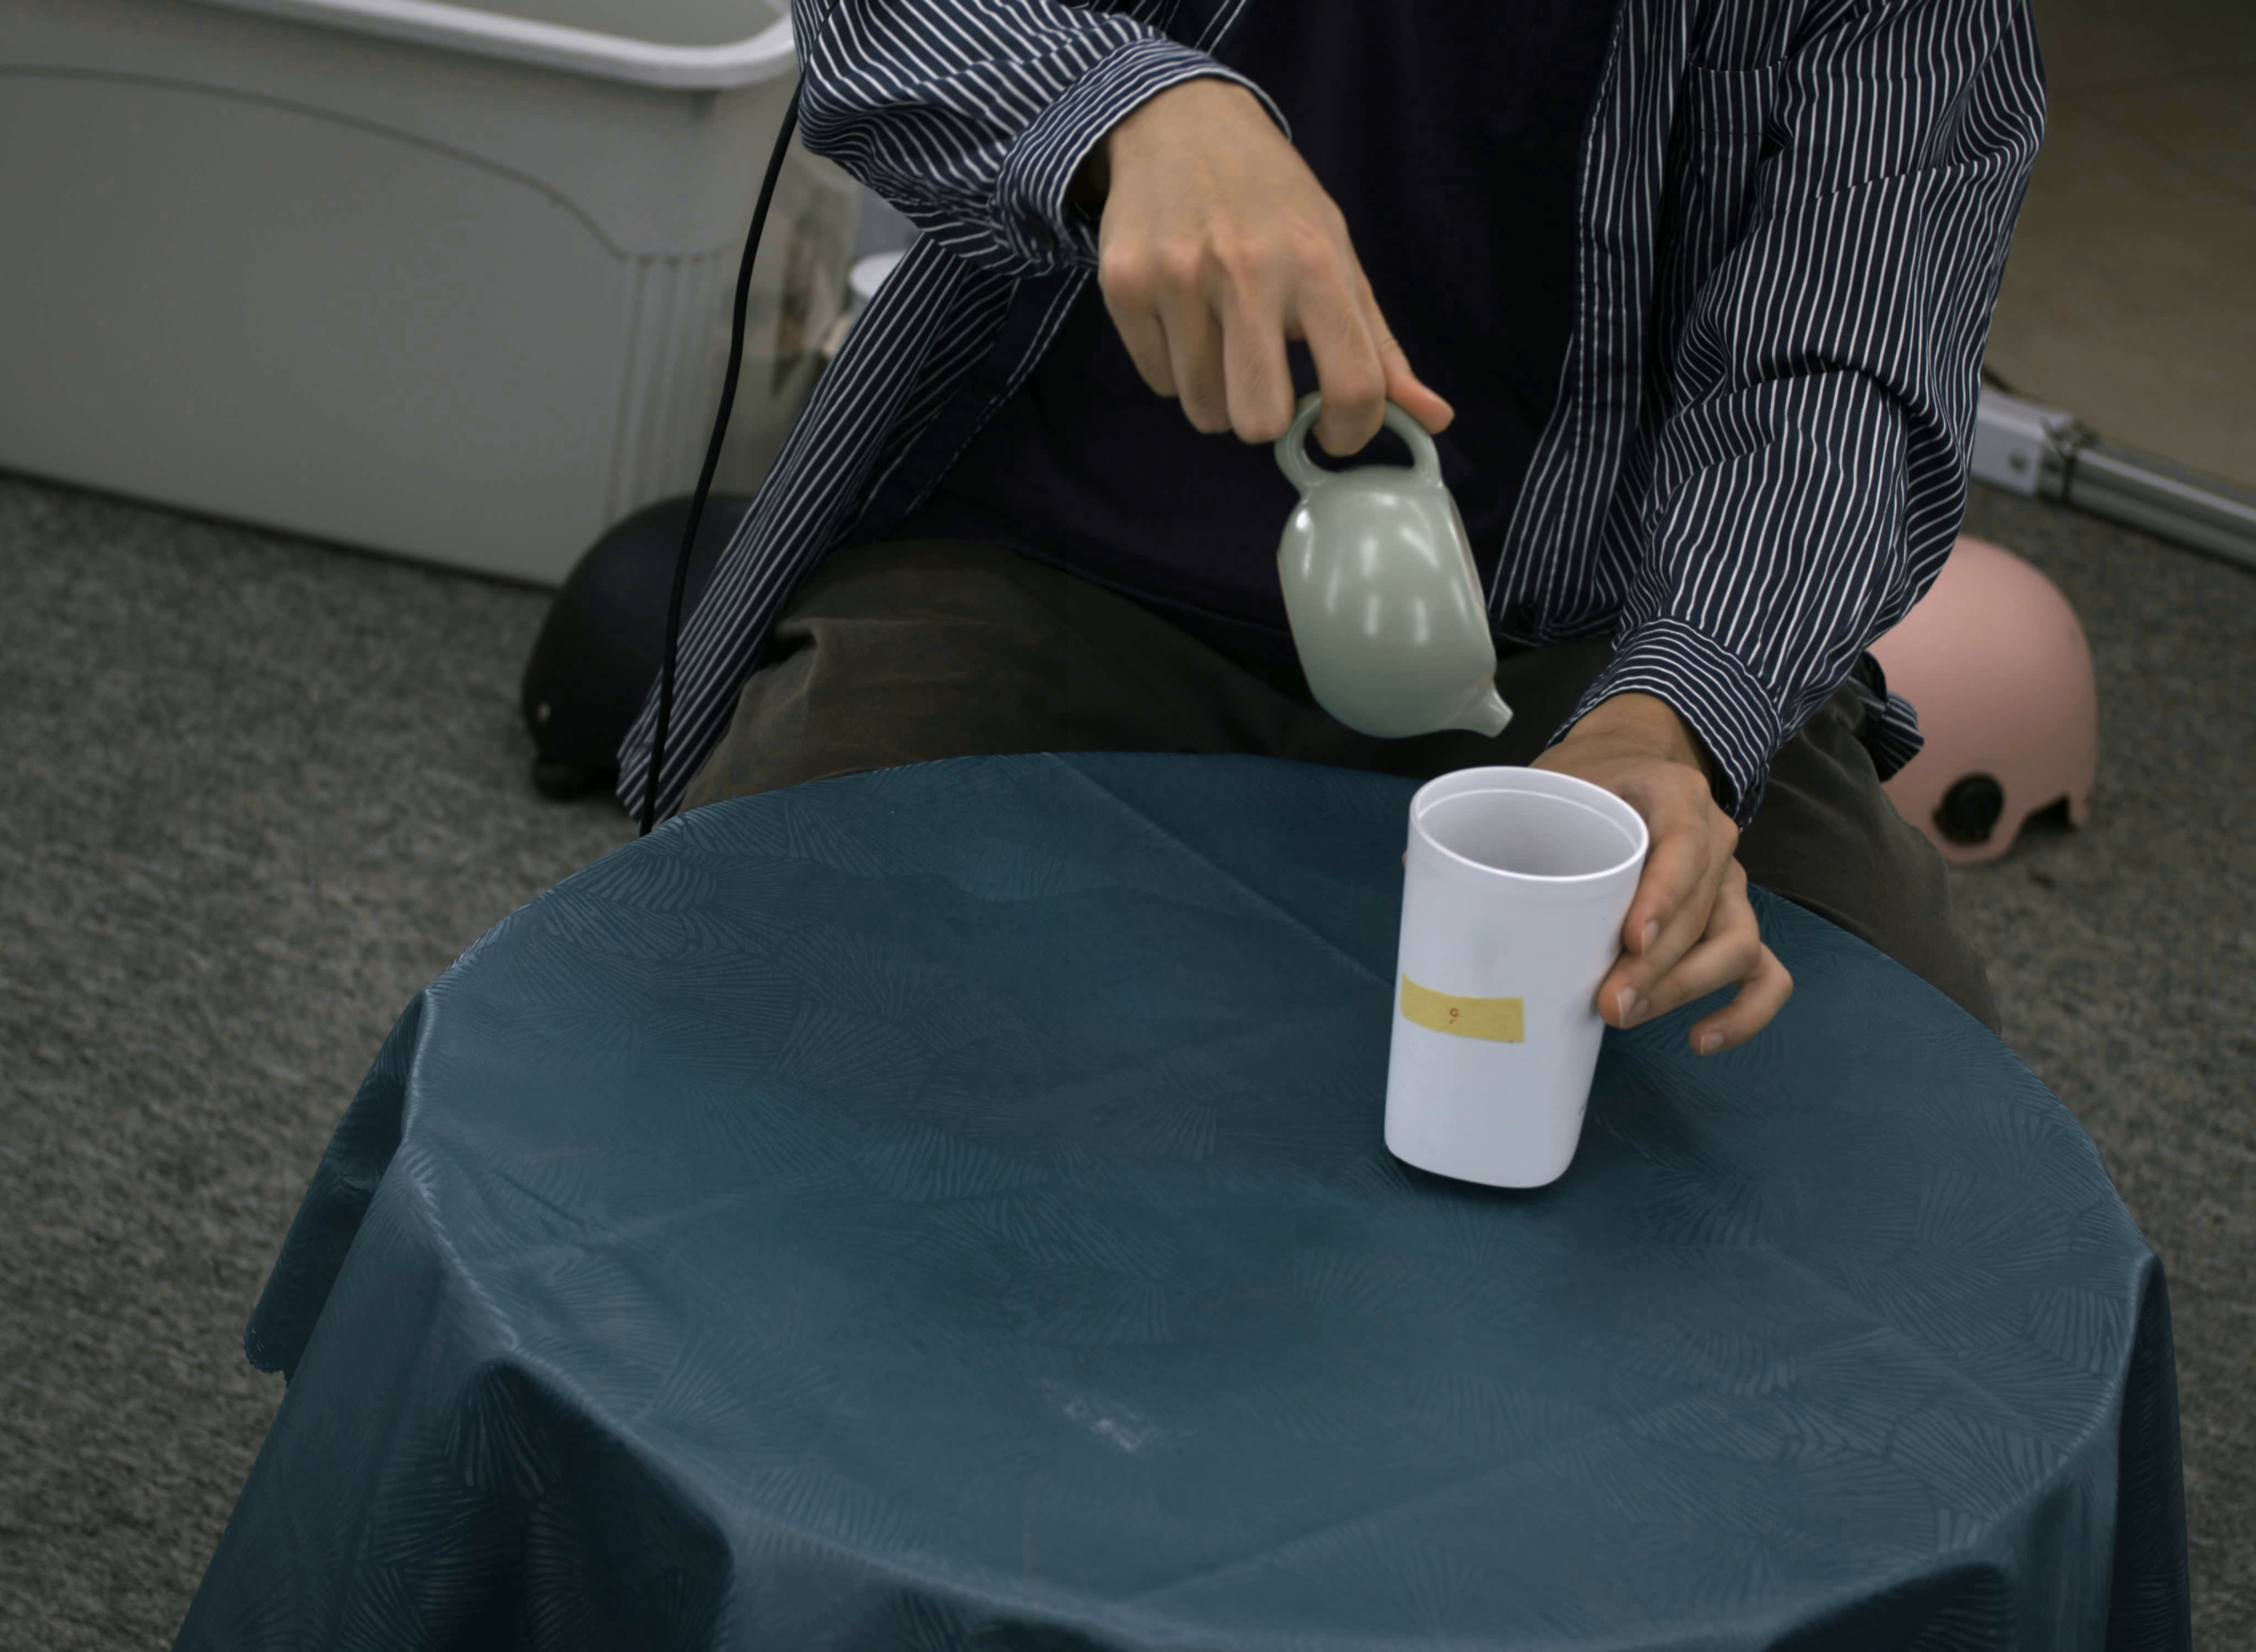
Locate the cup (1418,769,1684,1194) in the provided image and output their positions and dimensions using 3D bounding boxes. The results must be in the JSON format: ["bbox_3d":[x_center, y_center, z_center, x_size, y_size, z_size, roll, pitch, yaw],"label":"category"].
[{"bbox_3d":[0.140,0.055,1.808,0.081,0.125,0.082,5,26,-3],"label":"cup"}]

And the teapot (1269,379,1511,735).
[{"bbox_3d":[0.080,-0.084,1.746,0.061,0.128,0.091,-16,8,9],"label":"teapot"}]
